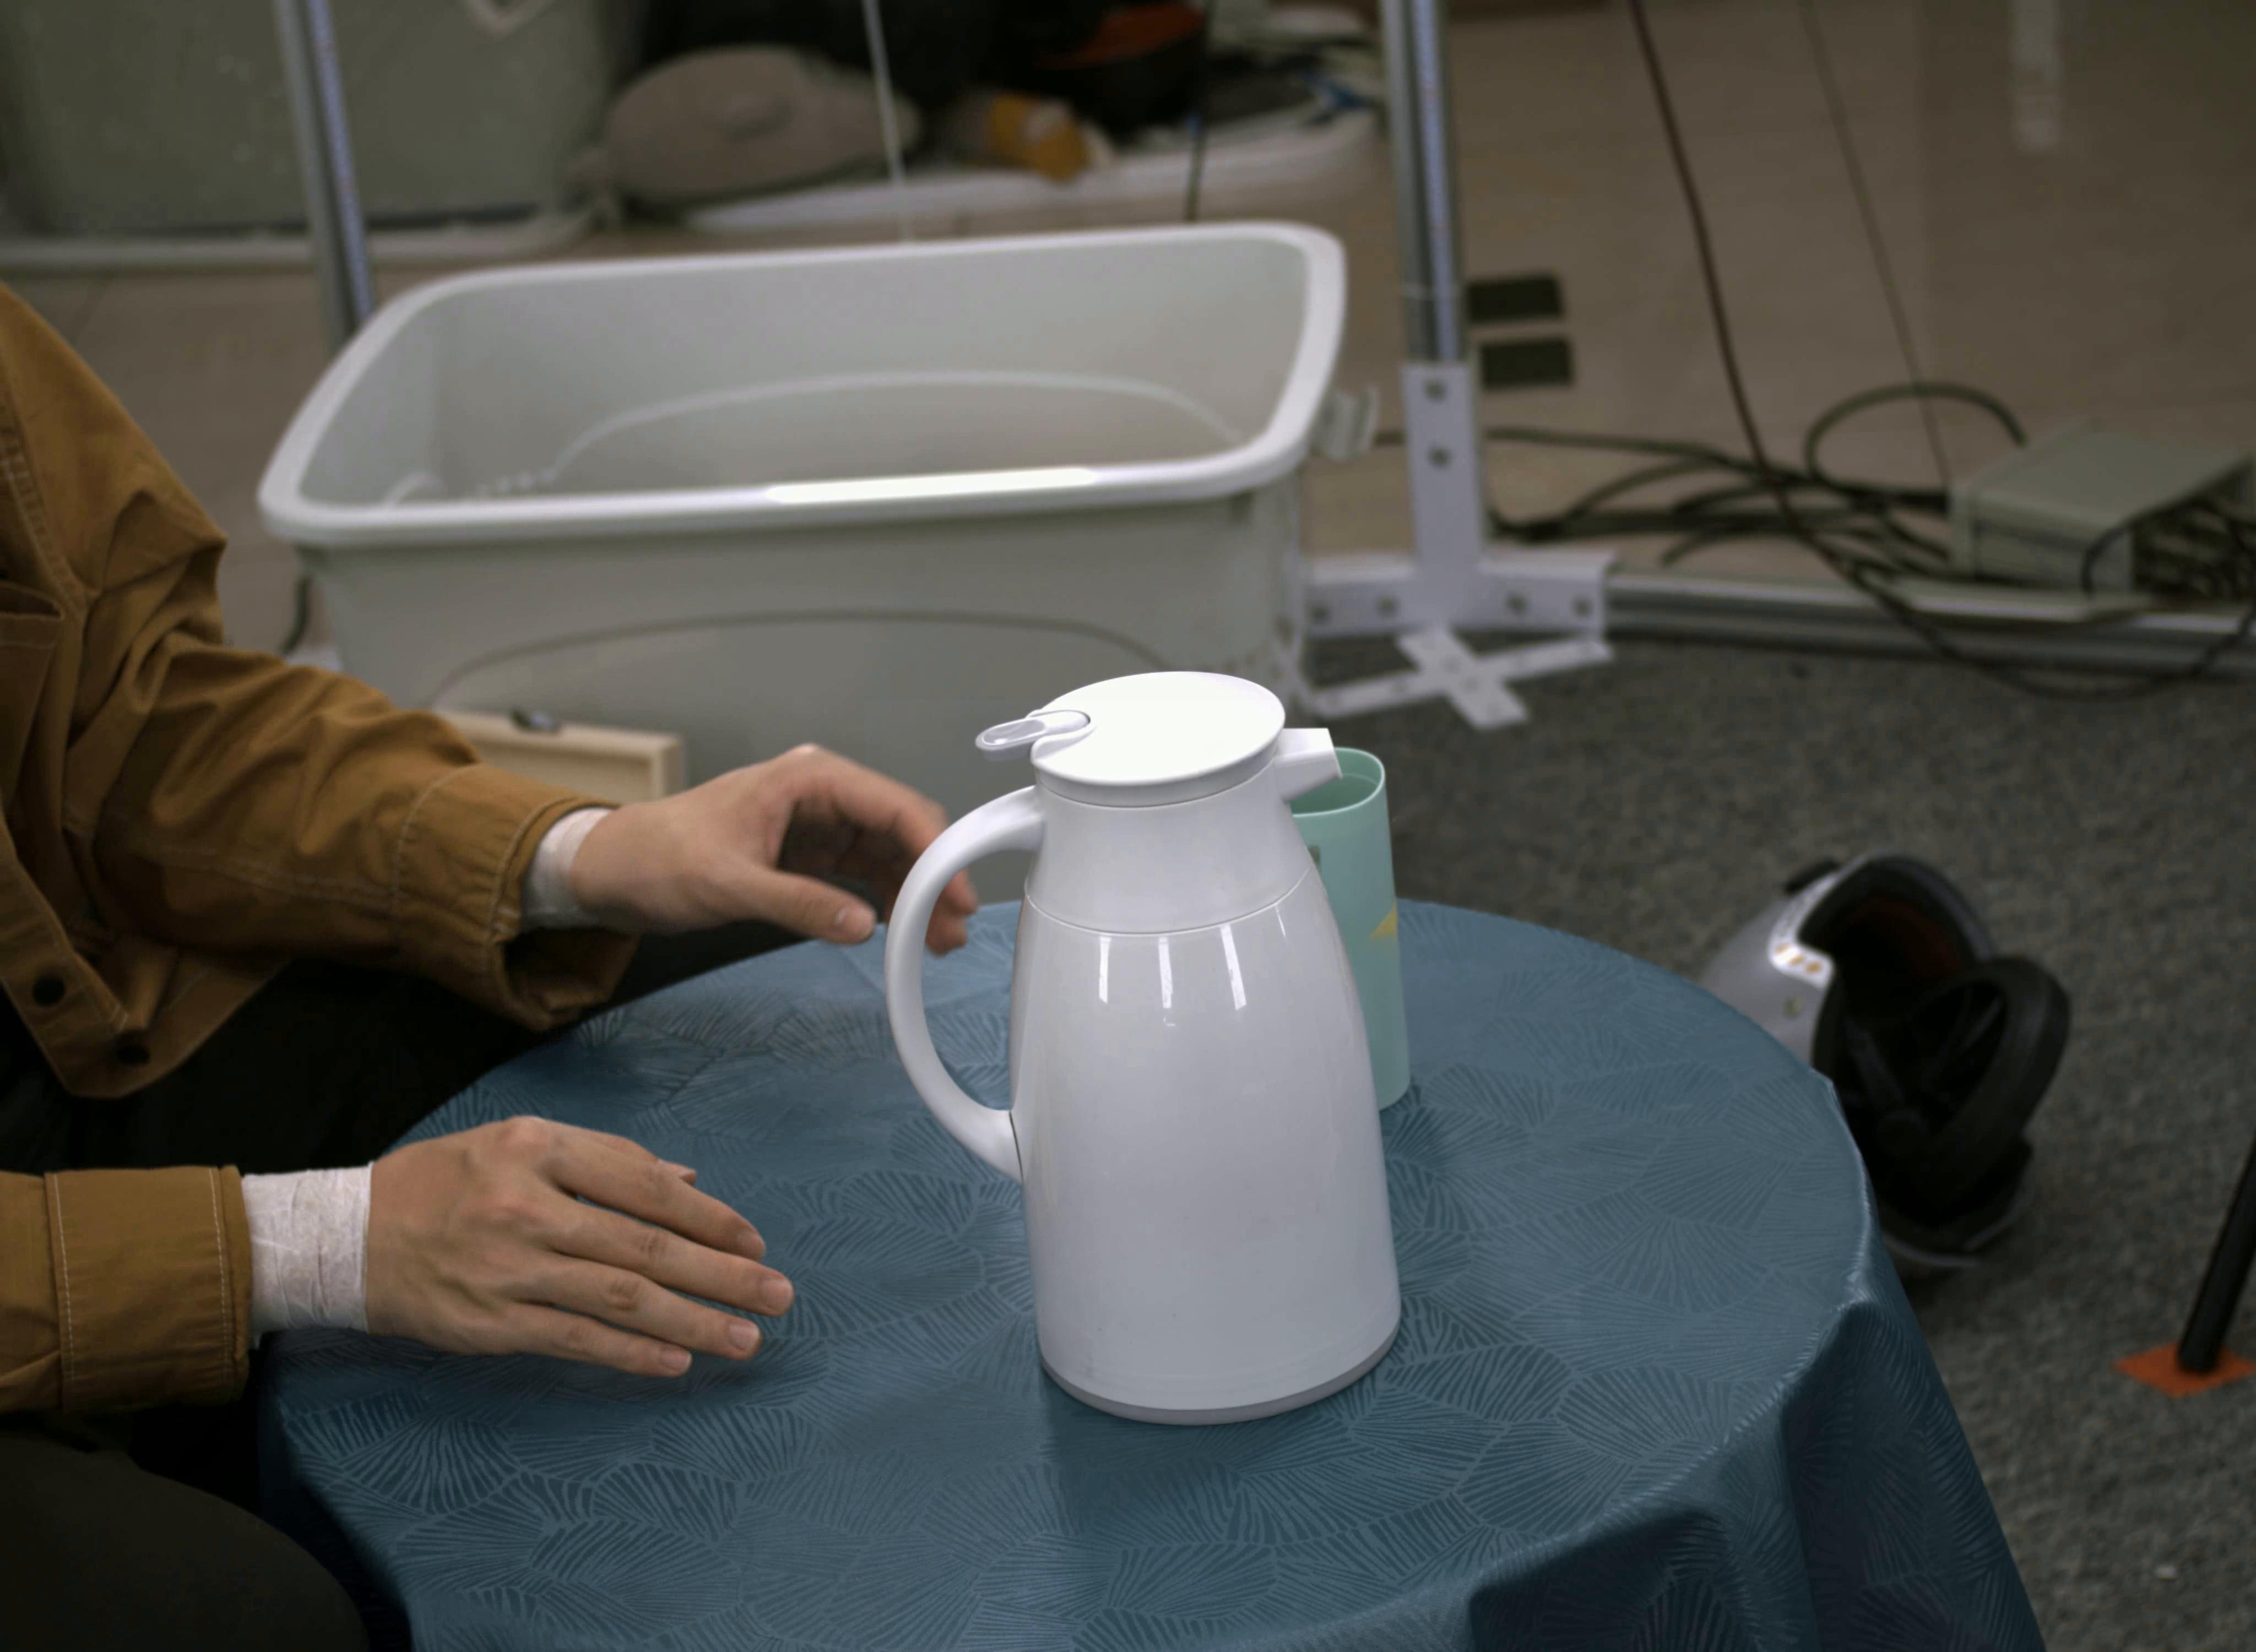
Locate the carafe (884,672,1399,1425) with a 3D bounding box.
[{"bbox_3d":[0.001,0.074,1.991,0.167,0.252,0.130,-8,26,-3],"label":"carafe"}]

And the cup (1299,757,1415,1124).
[{"bbox_3d":[0.074,0.045,2.185,0.066,0.134,0.066,-5,26,2],"label":"cup"}]
